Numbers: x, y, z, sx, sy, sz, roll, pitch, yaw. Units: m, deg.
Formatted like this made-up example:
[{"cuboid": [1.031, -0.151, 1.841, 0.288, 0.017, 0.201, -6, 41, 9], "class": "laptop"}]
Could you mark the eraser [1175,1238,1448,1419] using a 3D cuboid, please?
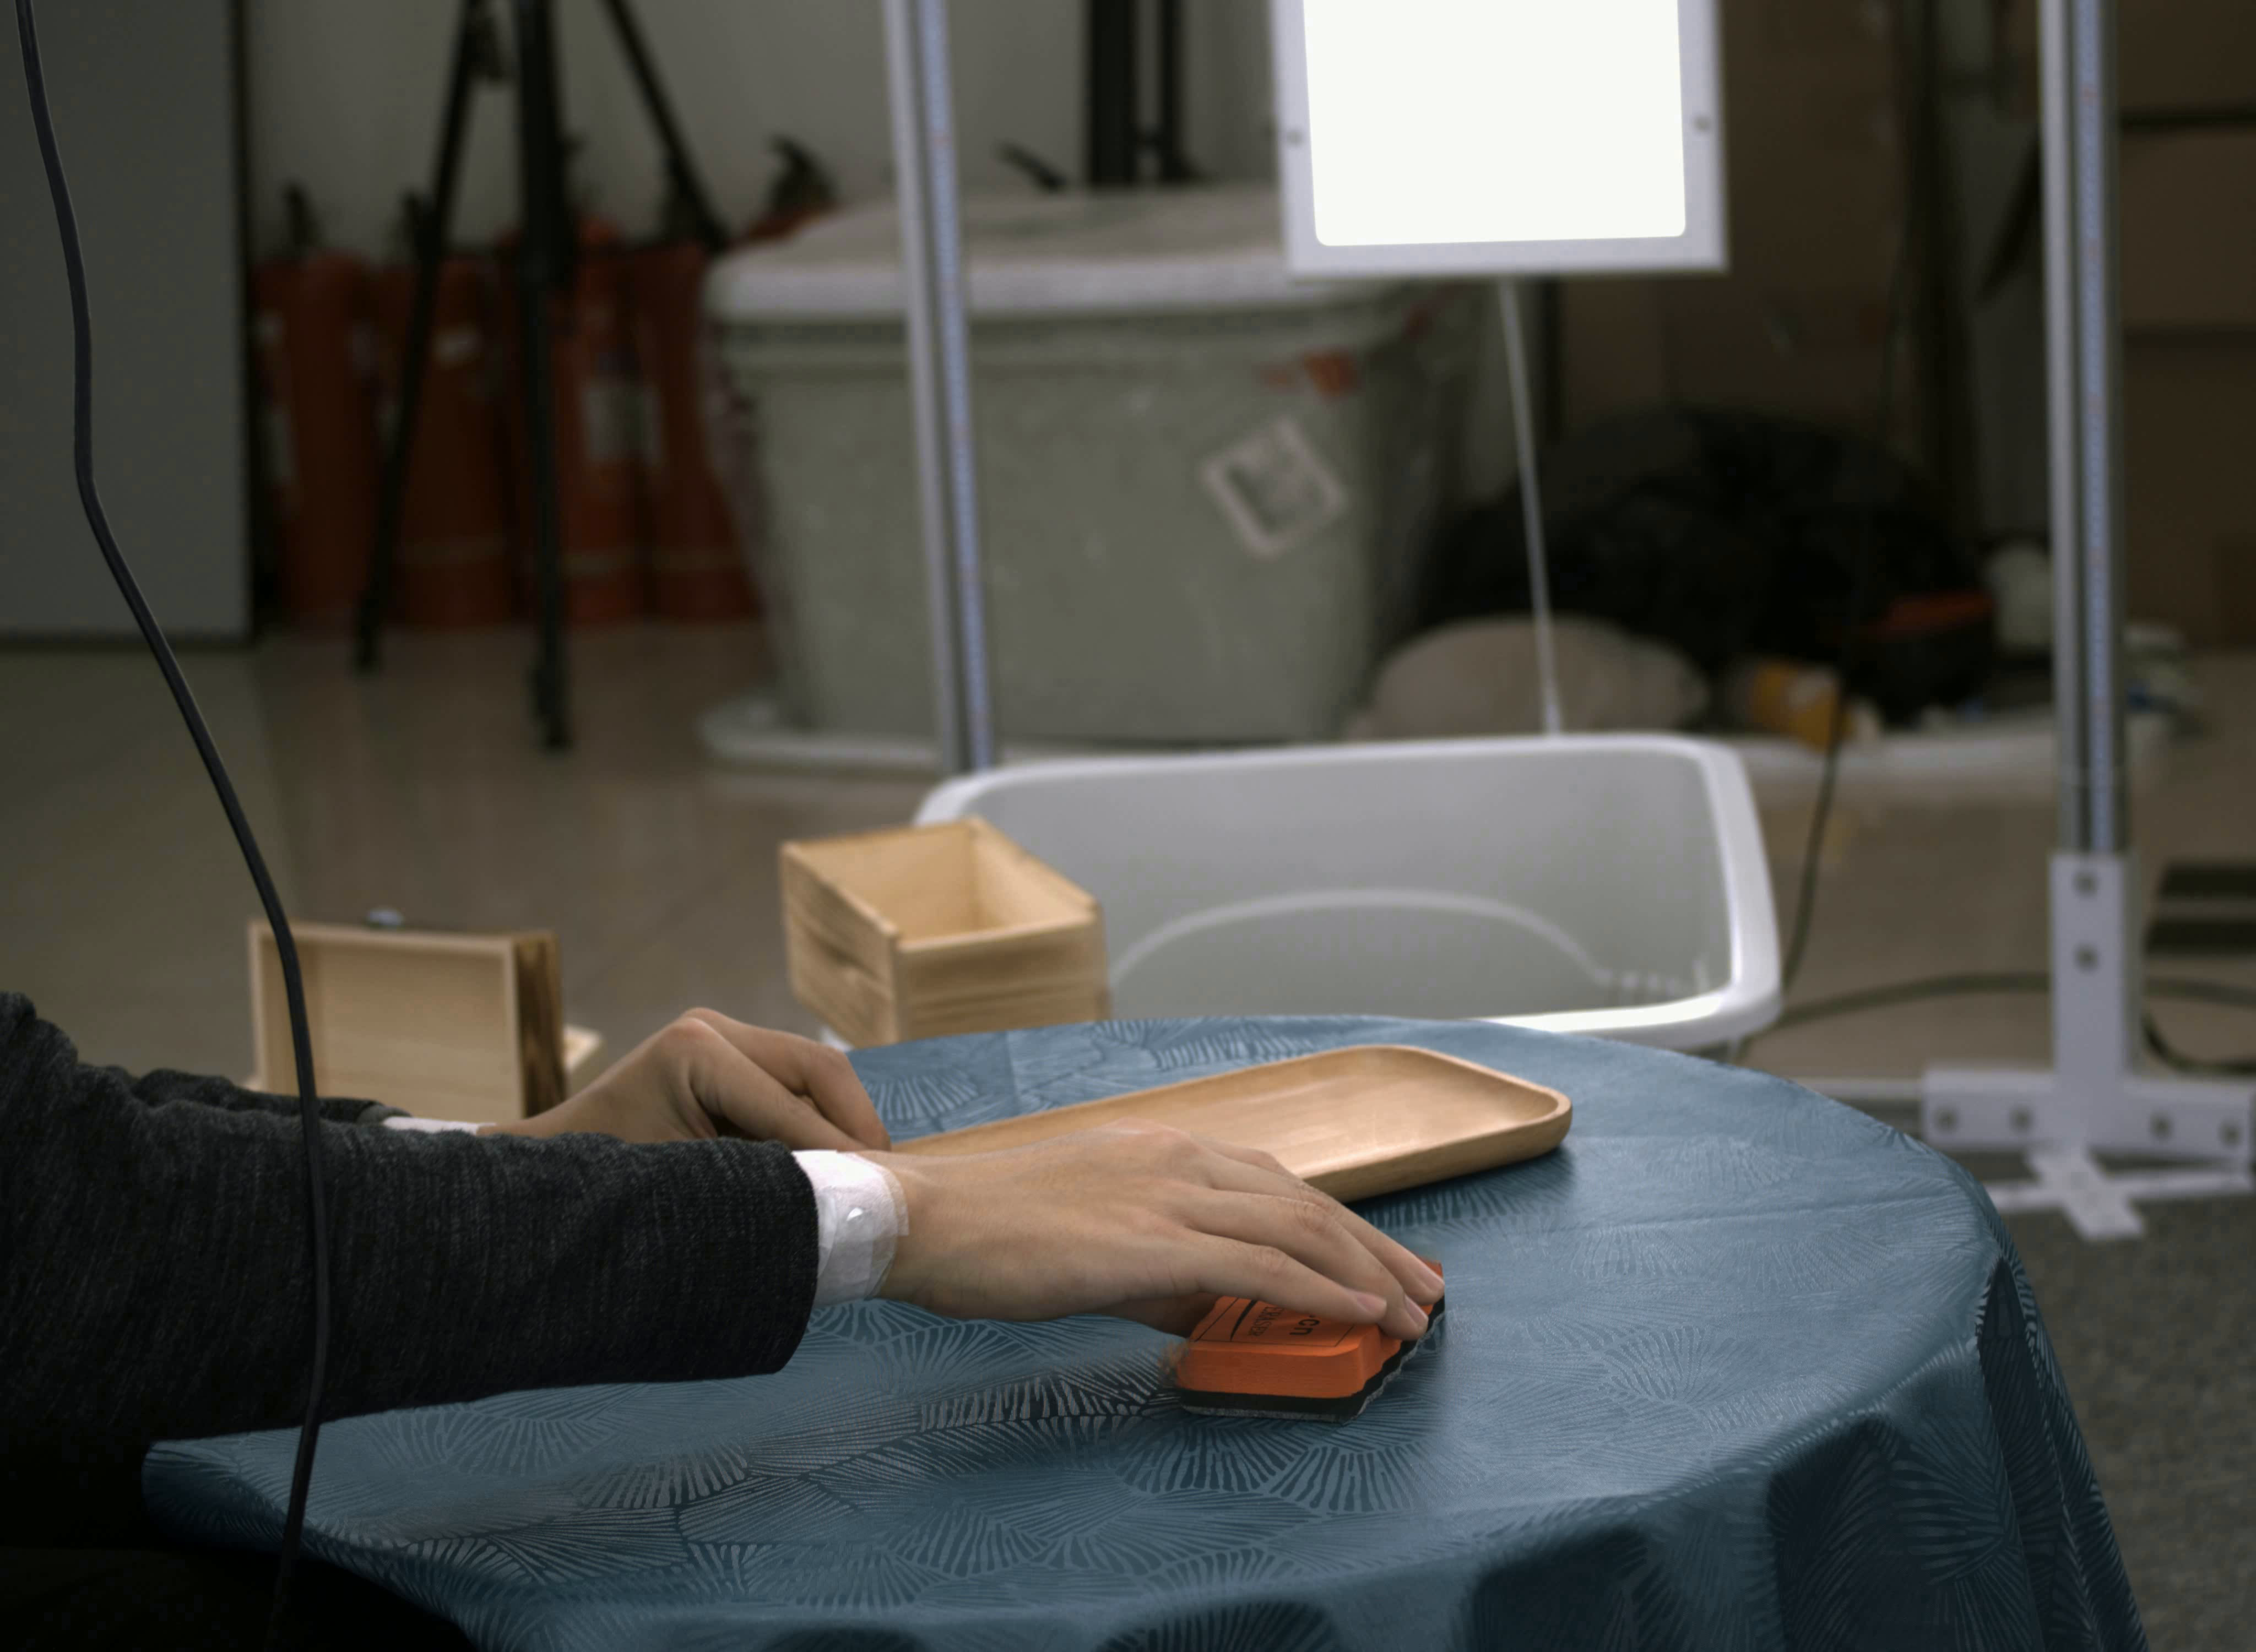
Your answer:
[{"cuboid": [0.058, 0.155, 1.710, 0.060, 0.023, 0.106, -1, 14, 23], "class": "eraser"}]

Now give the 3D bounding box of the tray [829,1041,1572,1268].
[{"cuboid": [0.027, 0.111, 1.890, 0.245, 0.023, 0.133, -11, 13, -29], "class": "tray"}]
